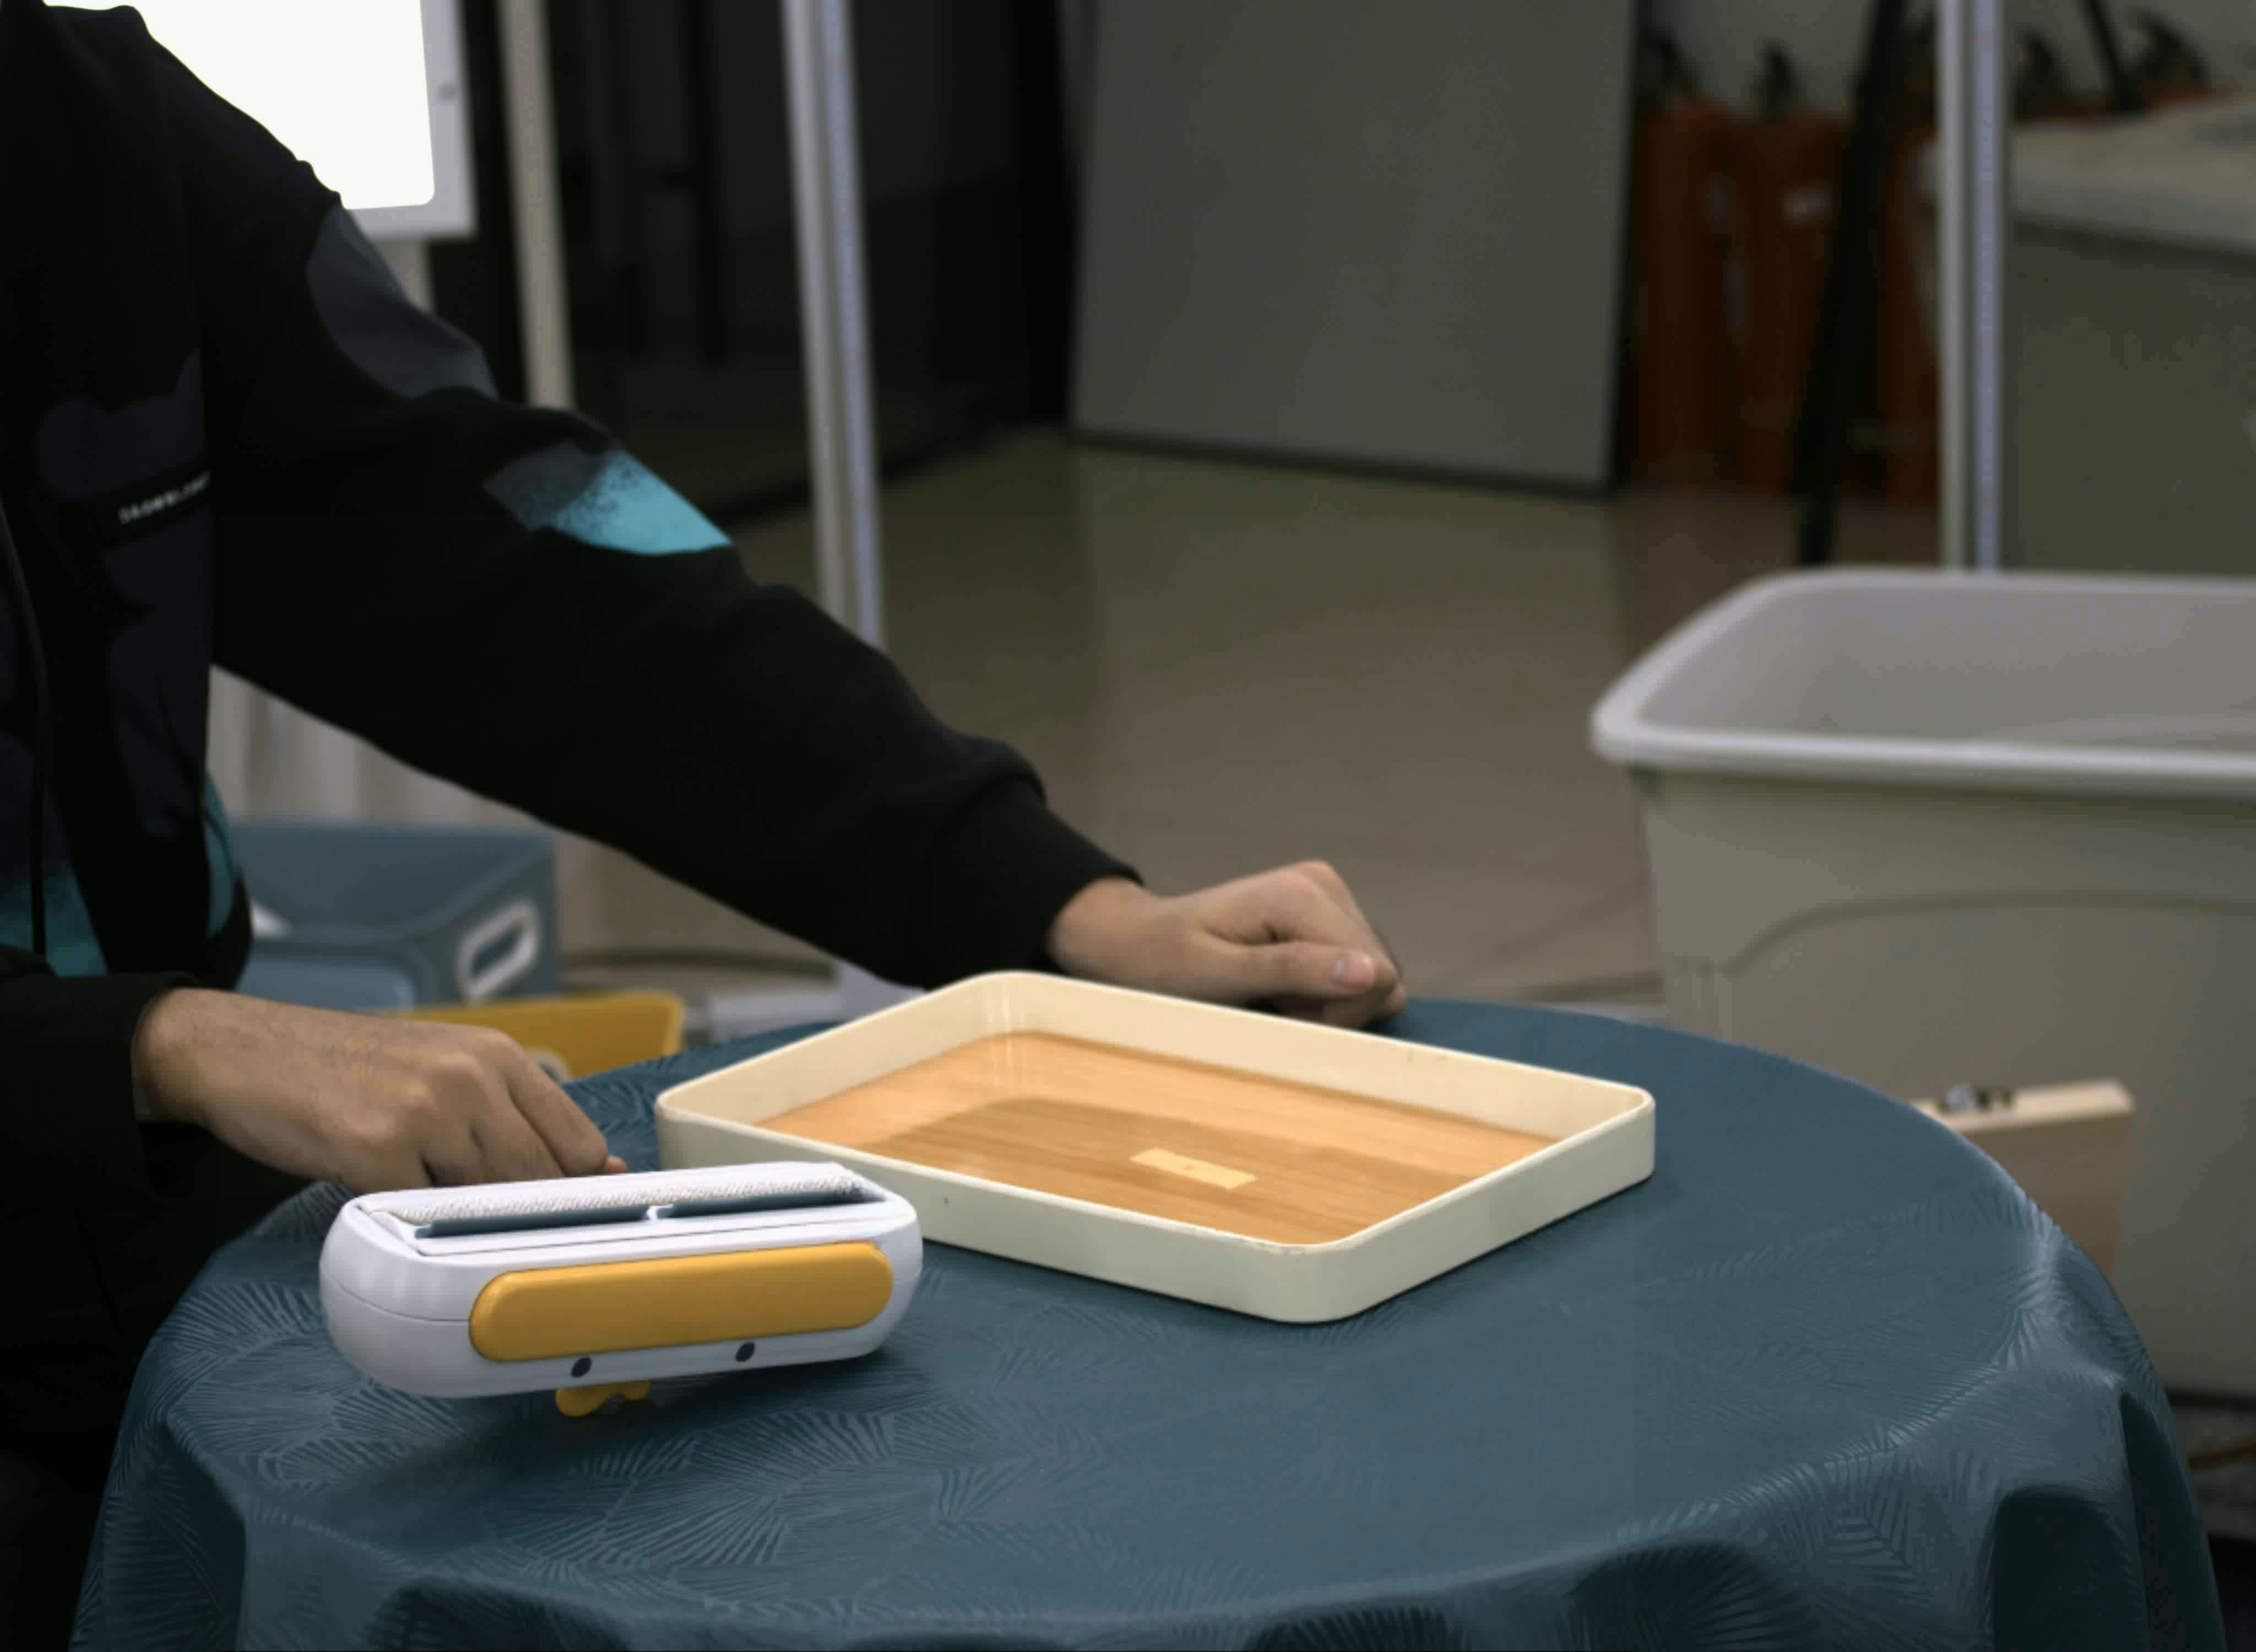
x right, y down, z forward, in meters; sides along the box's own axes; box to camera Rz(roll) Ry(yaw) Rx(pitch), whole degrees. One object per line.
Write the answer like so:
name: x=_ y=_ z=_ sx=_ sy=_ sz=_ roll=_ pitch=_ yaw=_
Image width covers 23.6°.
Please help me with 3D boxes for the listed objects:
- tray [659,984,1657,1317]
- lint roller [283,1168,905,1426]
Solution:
tray: x=0.008 y=0.104 z=1.785 sx=0.303 sy=0.028 sz=0.188 roll=9 pitch=18 yaw=42
lint roller: x=-0.185 y=0.132 z=1.640 sx=0.188 sy=0.075 sz=0.194 roll=-6 pitch=11 yaw=-32
